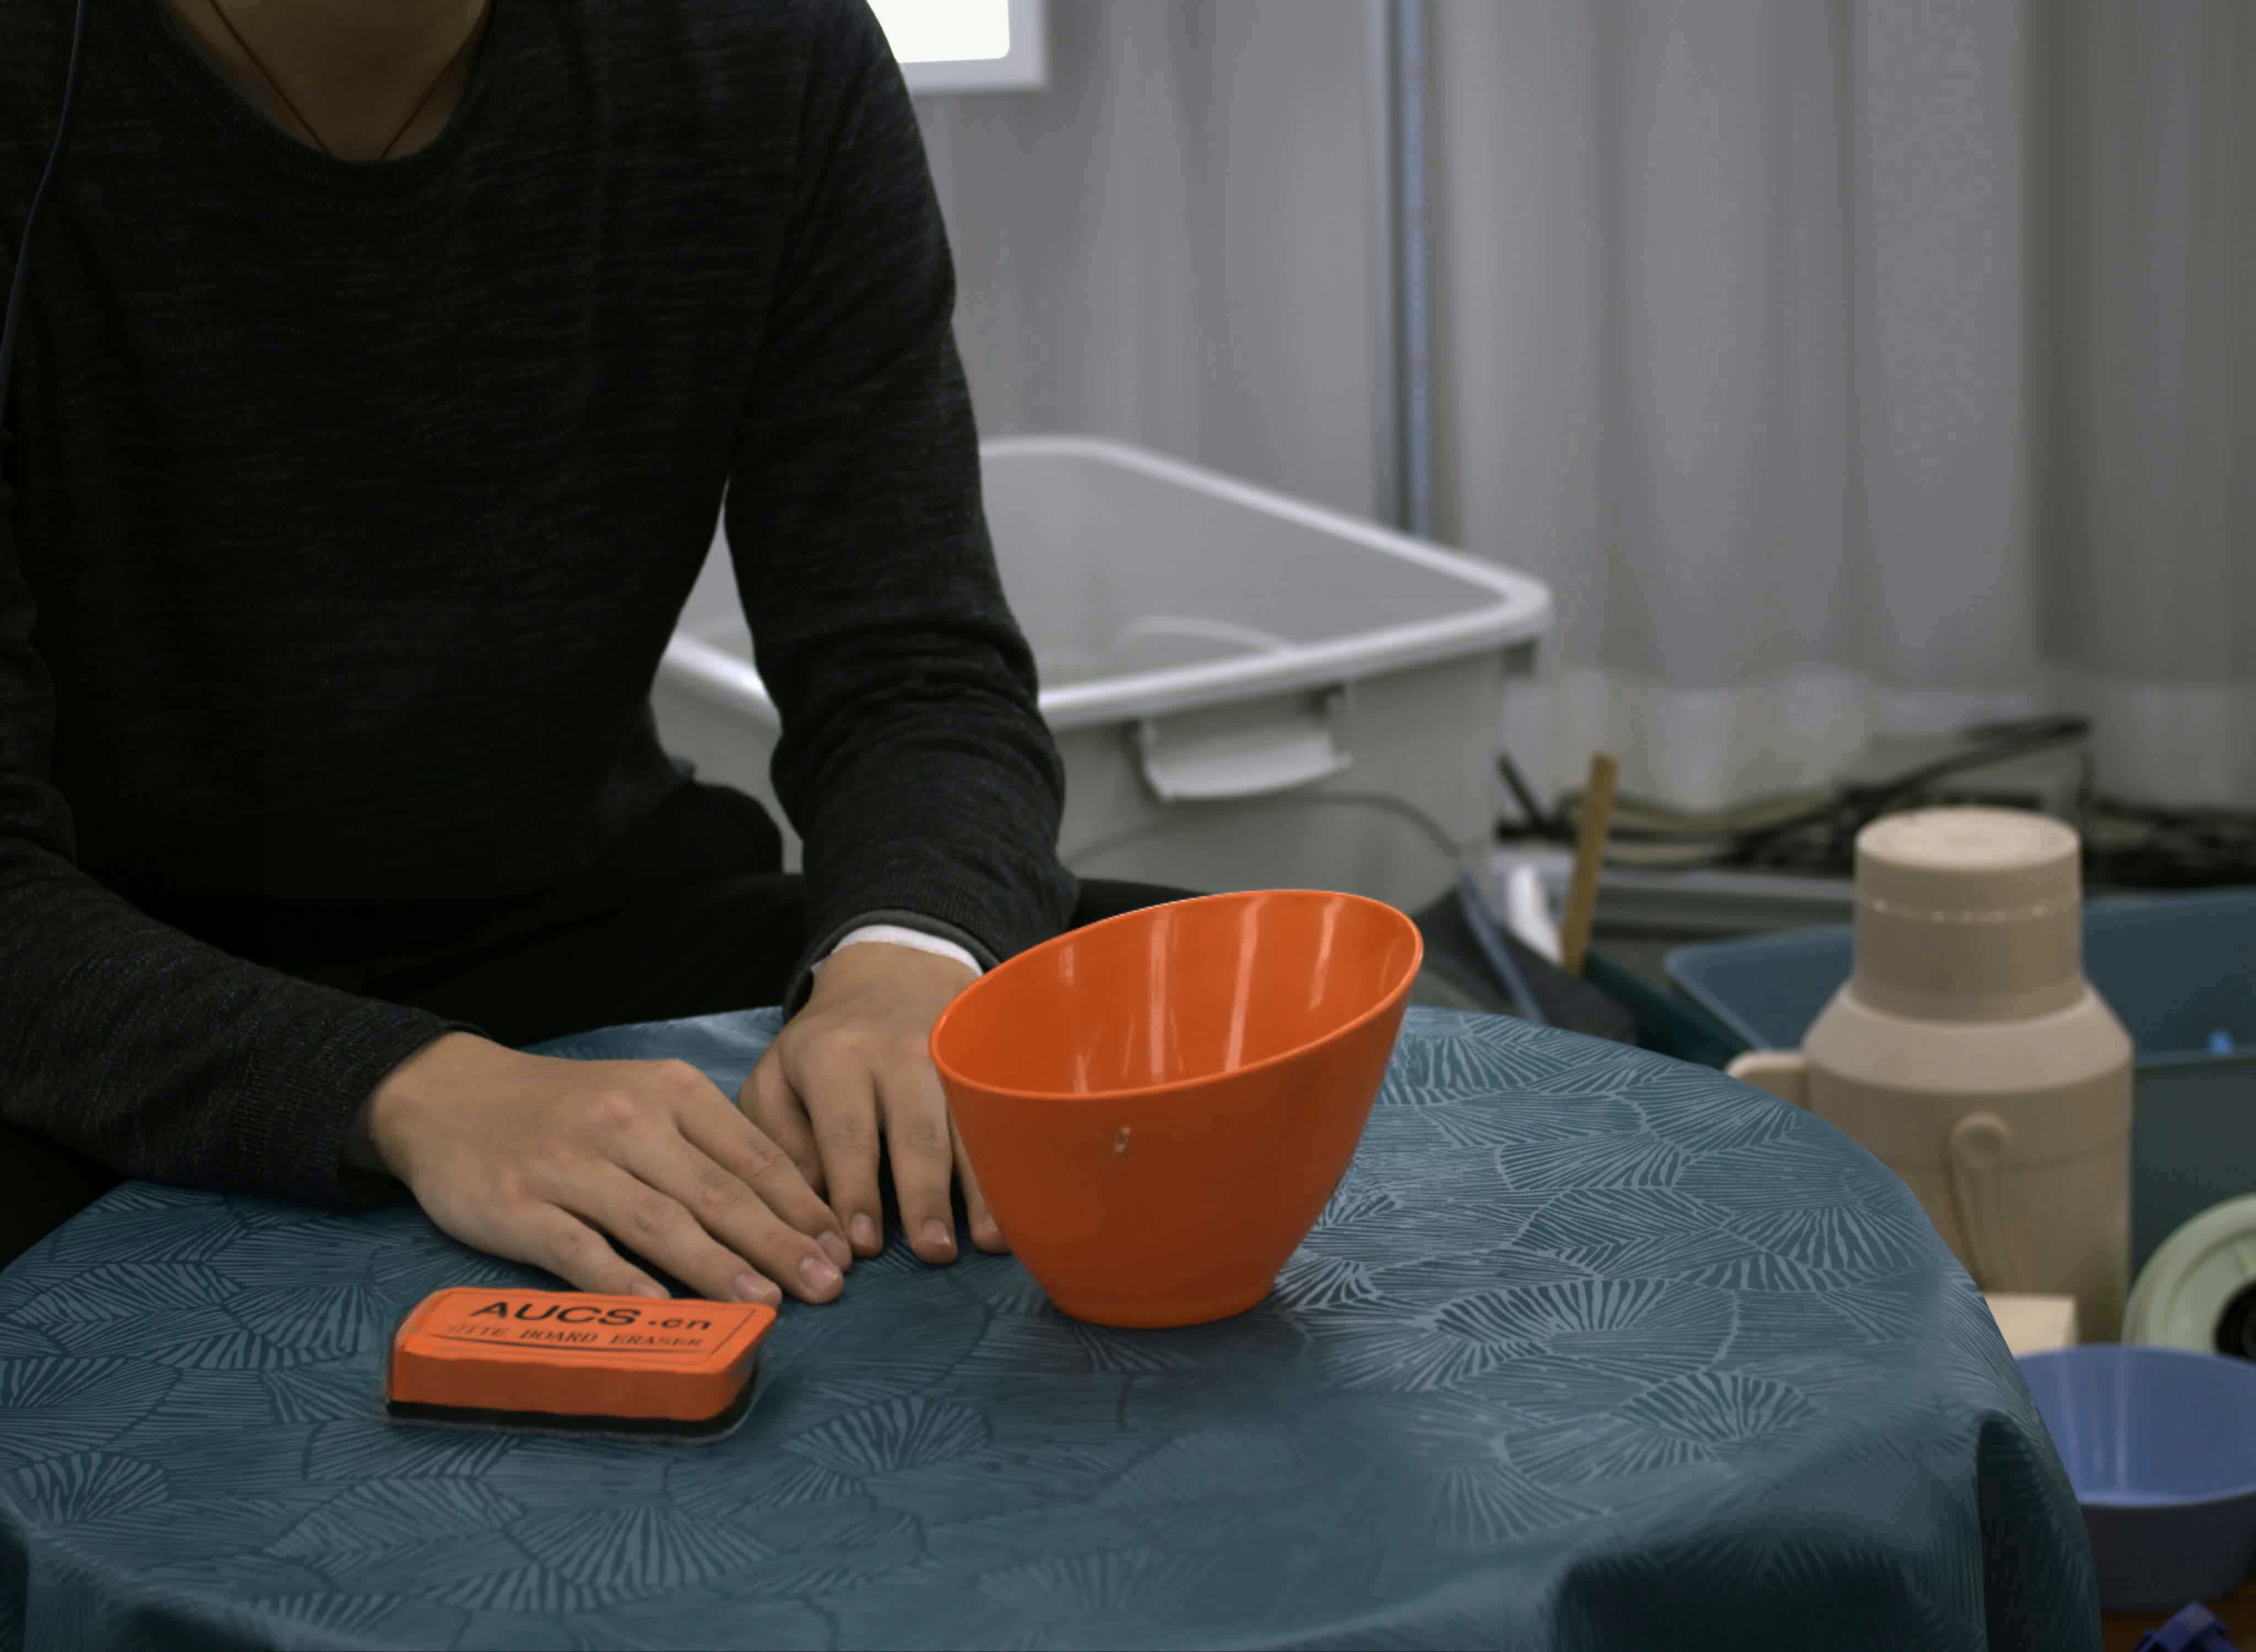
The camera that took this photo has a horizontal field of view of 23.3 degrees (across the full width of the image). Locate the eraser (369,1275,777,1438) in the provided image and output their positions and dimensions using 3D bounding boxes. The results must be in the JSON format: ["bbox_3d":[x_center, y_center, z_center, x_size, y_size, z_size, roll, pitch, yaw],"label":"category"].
[{"bbox_3d":[-0.157,0.150,1.554,0.108,0.023,0.059,3,17,16],"label":"eraser"}]

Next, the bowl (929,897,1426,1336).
[{"bbox_3d":[0.017,0.089,1.614,0.147,0.104,0.149,-3,15,0],"label":"bowl"}]
